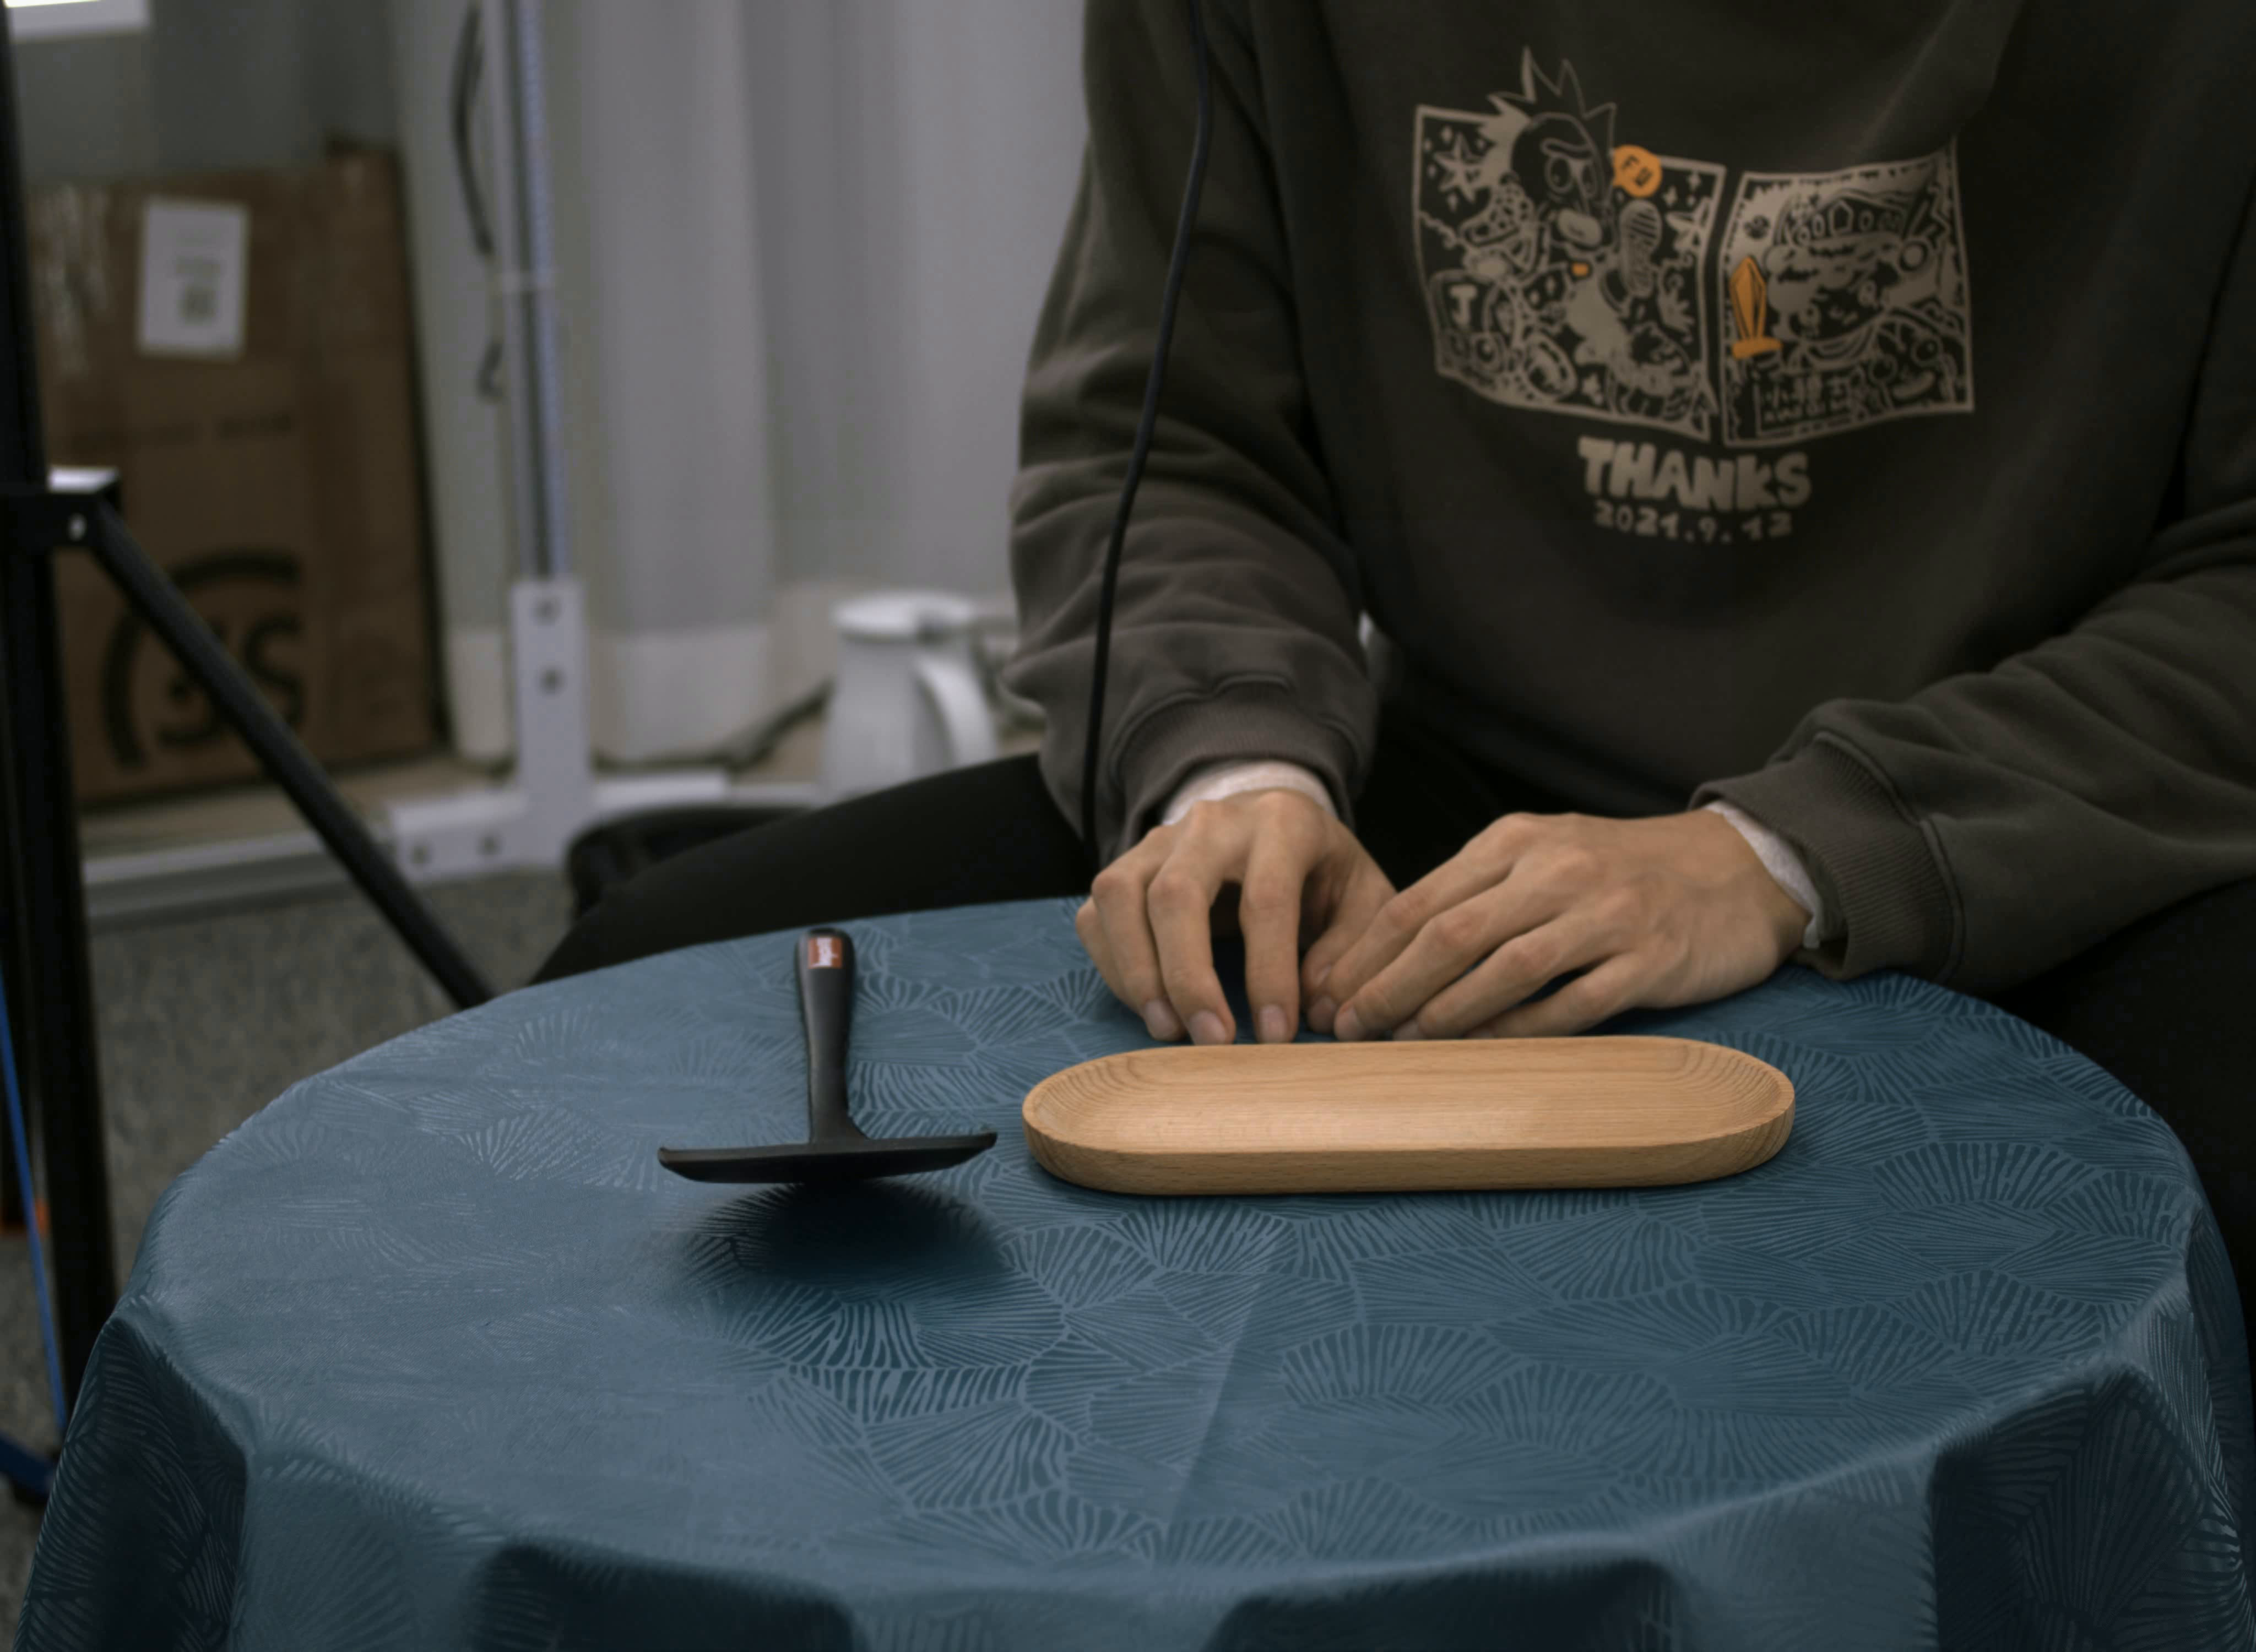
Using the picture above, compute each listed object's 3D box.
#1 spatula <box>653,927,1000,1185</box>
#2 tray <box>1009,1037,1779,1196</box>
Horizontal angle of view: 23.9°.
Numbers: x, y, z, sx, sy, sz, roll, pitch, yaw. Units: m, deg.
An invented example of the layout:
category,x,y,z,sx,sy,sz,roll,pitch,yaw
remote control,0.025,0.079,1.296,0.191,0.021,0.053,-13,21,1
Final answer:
category,x,y,z,sx,sy,sz,roll,pitch,yaw
spatula,-0.095,0.067,1.657,0.099,0.040,0.328,-2,16,-3
tray,0.080,0.088,1.590,0.231,0.020,0.102,-2,15,6
